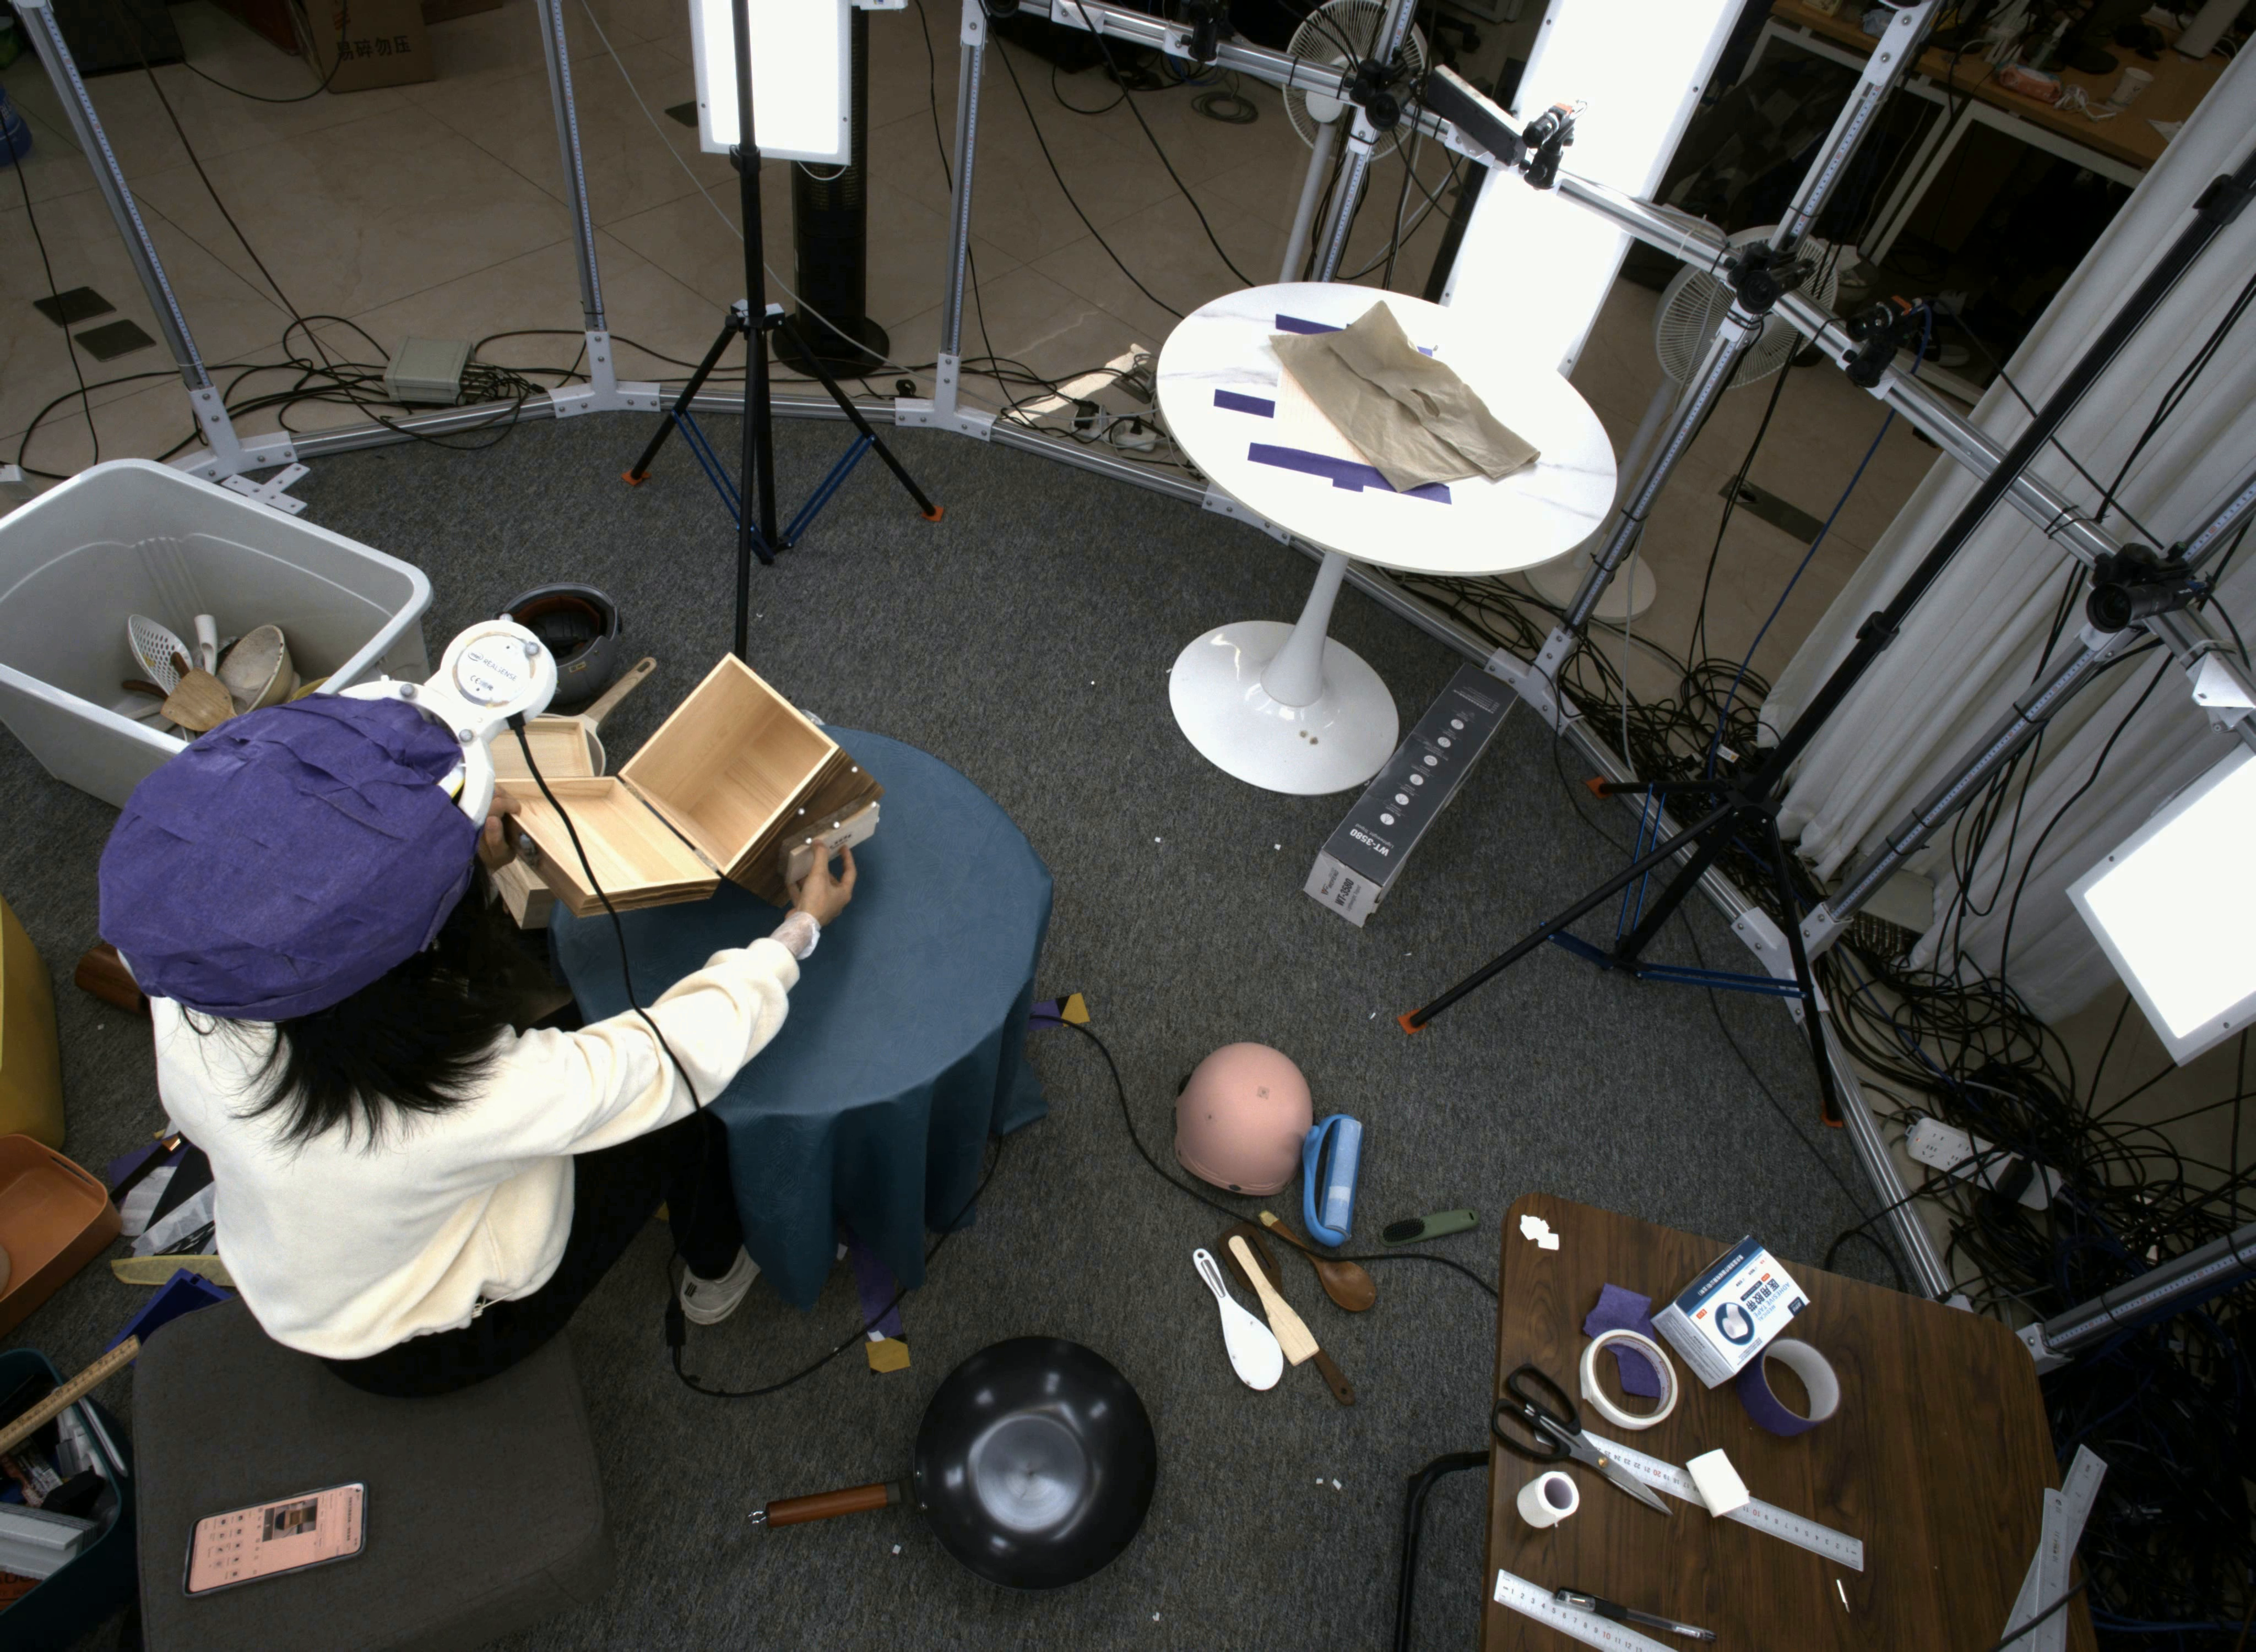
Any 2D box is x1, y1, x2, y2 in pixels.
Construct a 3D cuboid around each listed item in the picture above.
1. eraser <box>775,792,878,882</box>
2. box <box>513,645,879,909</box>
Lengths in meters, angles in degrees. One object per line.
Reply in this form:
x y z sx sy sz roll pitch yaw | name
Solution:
-0.369 0.011 1.588 0.028 0.058 0.140 40 45 17 | eraser
-0.508 -0.046 1.493 0.204 0.383 0.322 37 81 16 | box
